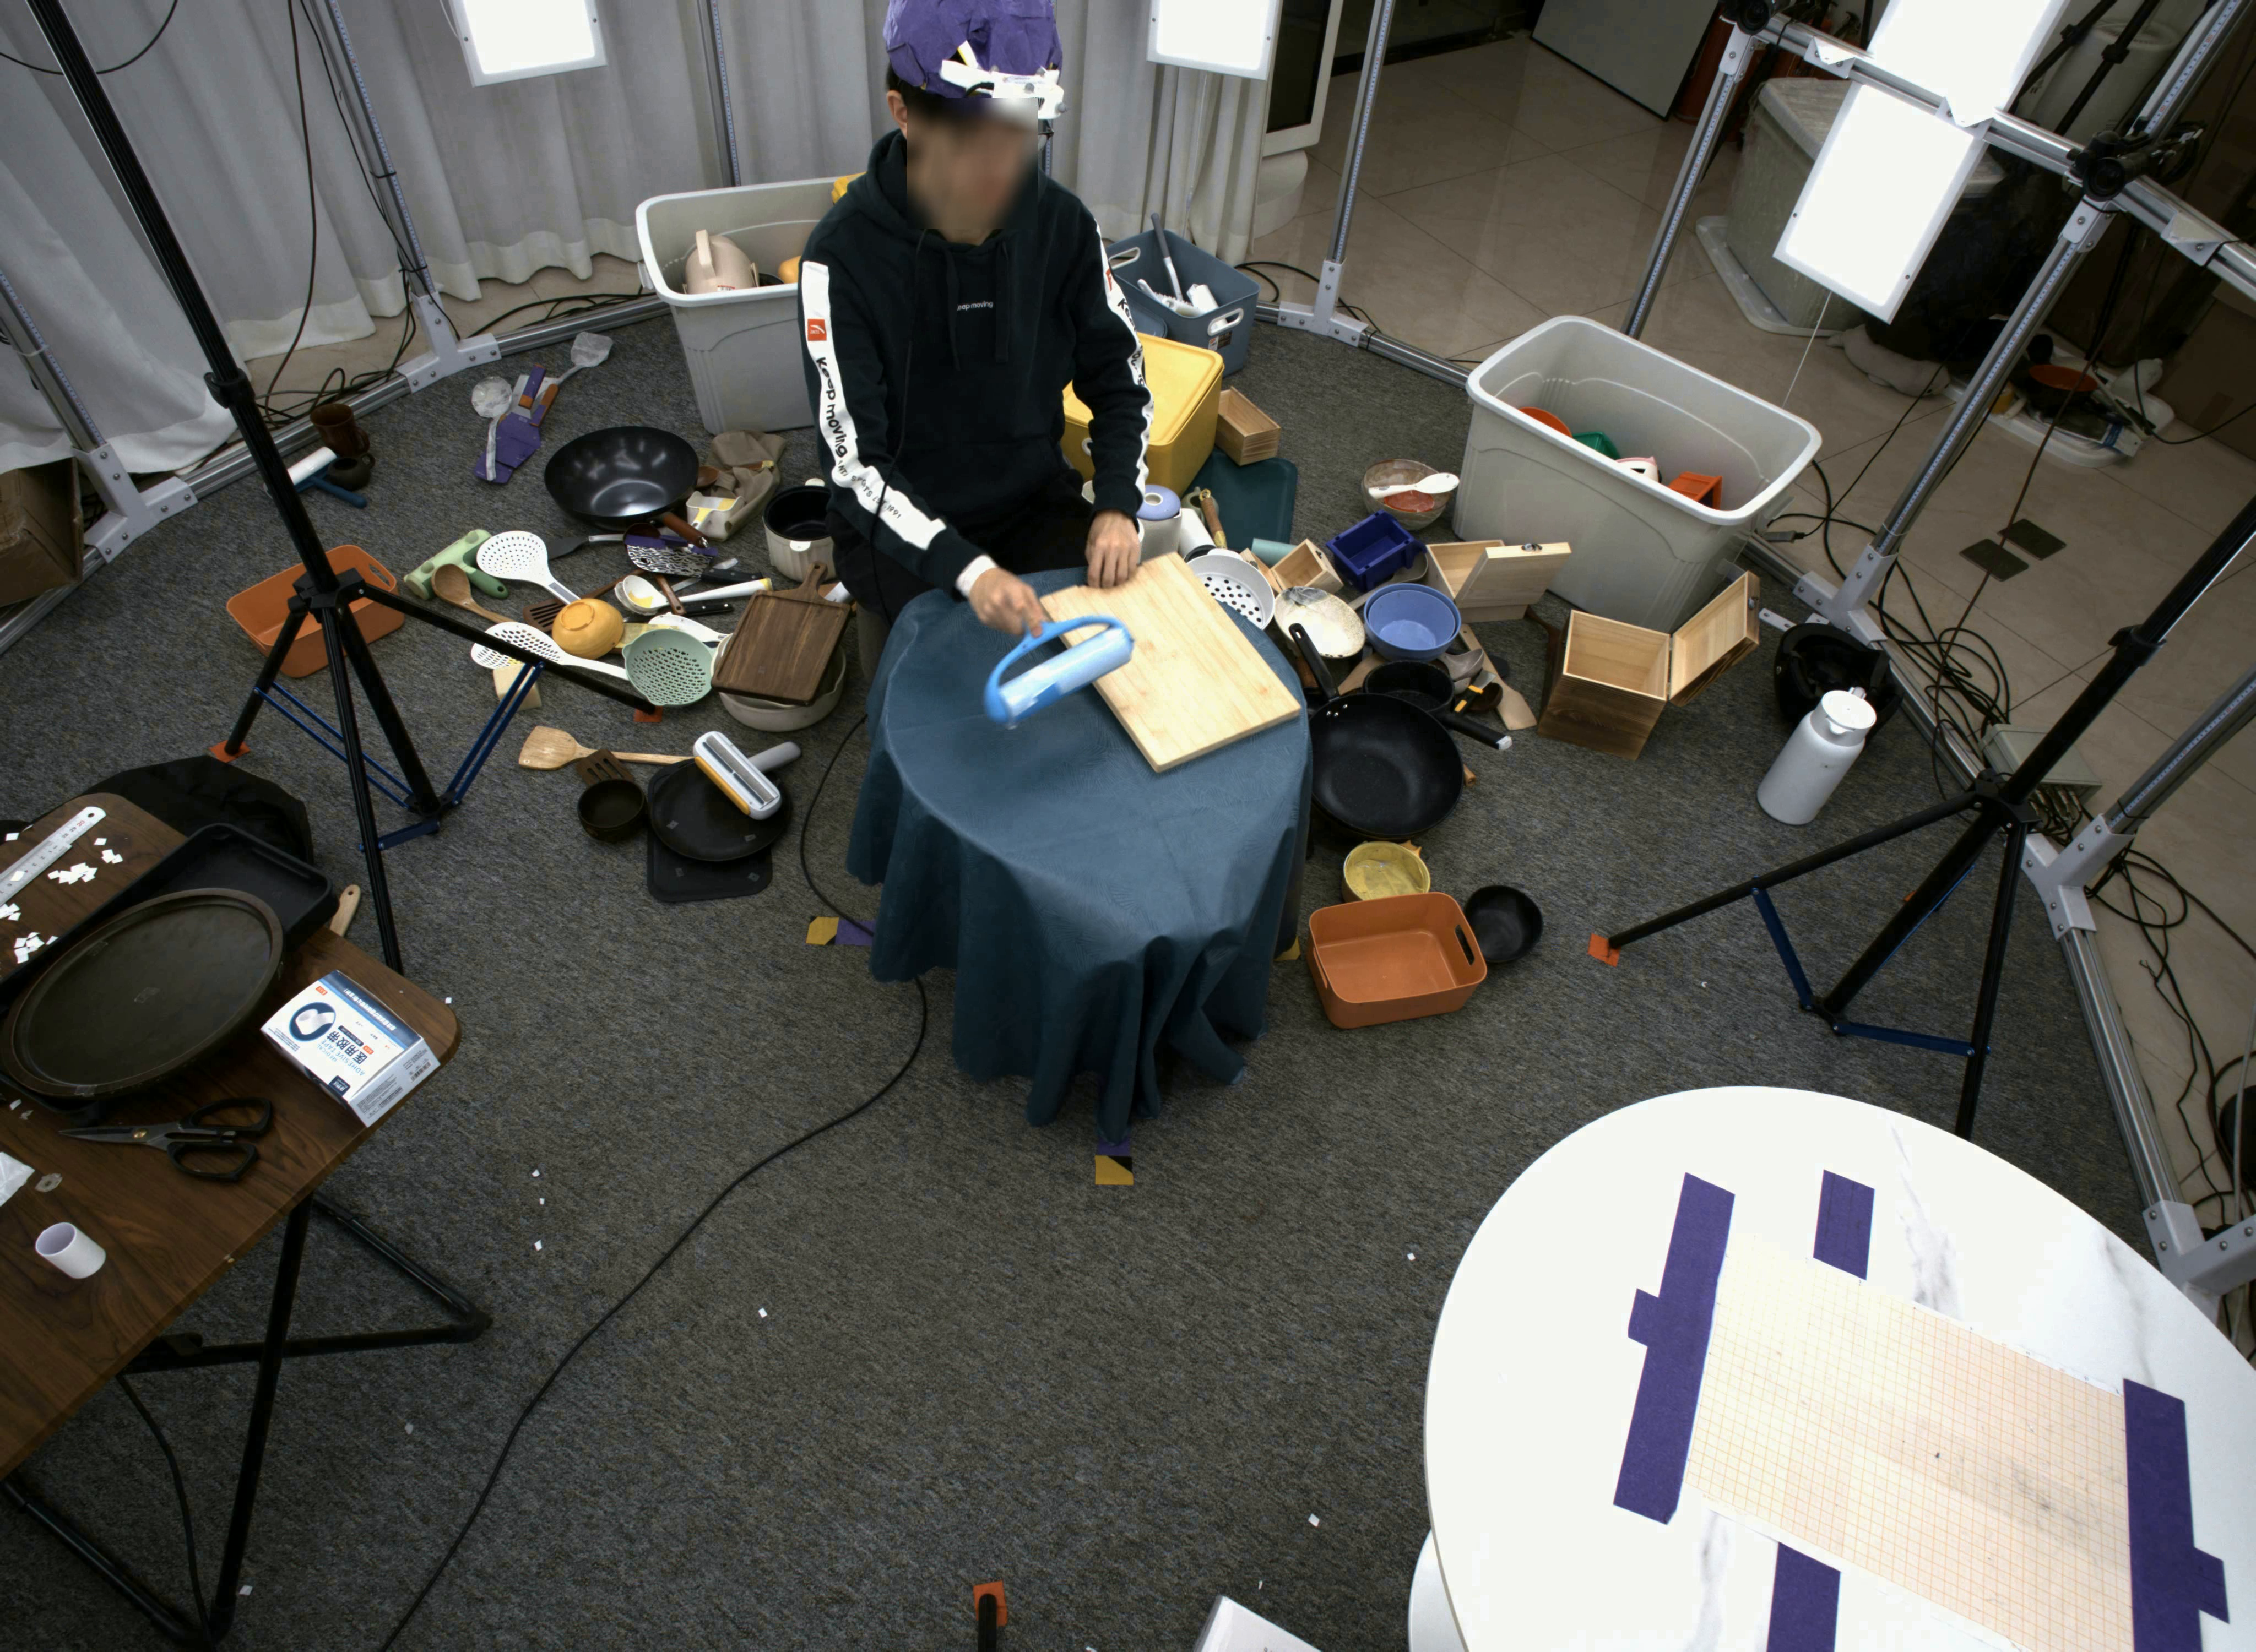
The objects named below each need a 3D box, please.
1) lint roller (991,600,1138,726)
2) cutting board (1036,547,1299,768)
[{"bbox_3d":[-0.118,-0.246,1.714,0.230,0.067,0.182,-35,74,-21],"label":"lint roller"},{"bbox_3d":[0.053,-0.251,1.856,0.251,0.023,0.355,-23,60,-22],"label":"cutting board"}]
